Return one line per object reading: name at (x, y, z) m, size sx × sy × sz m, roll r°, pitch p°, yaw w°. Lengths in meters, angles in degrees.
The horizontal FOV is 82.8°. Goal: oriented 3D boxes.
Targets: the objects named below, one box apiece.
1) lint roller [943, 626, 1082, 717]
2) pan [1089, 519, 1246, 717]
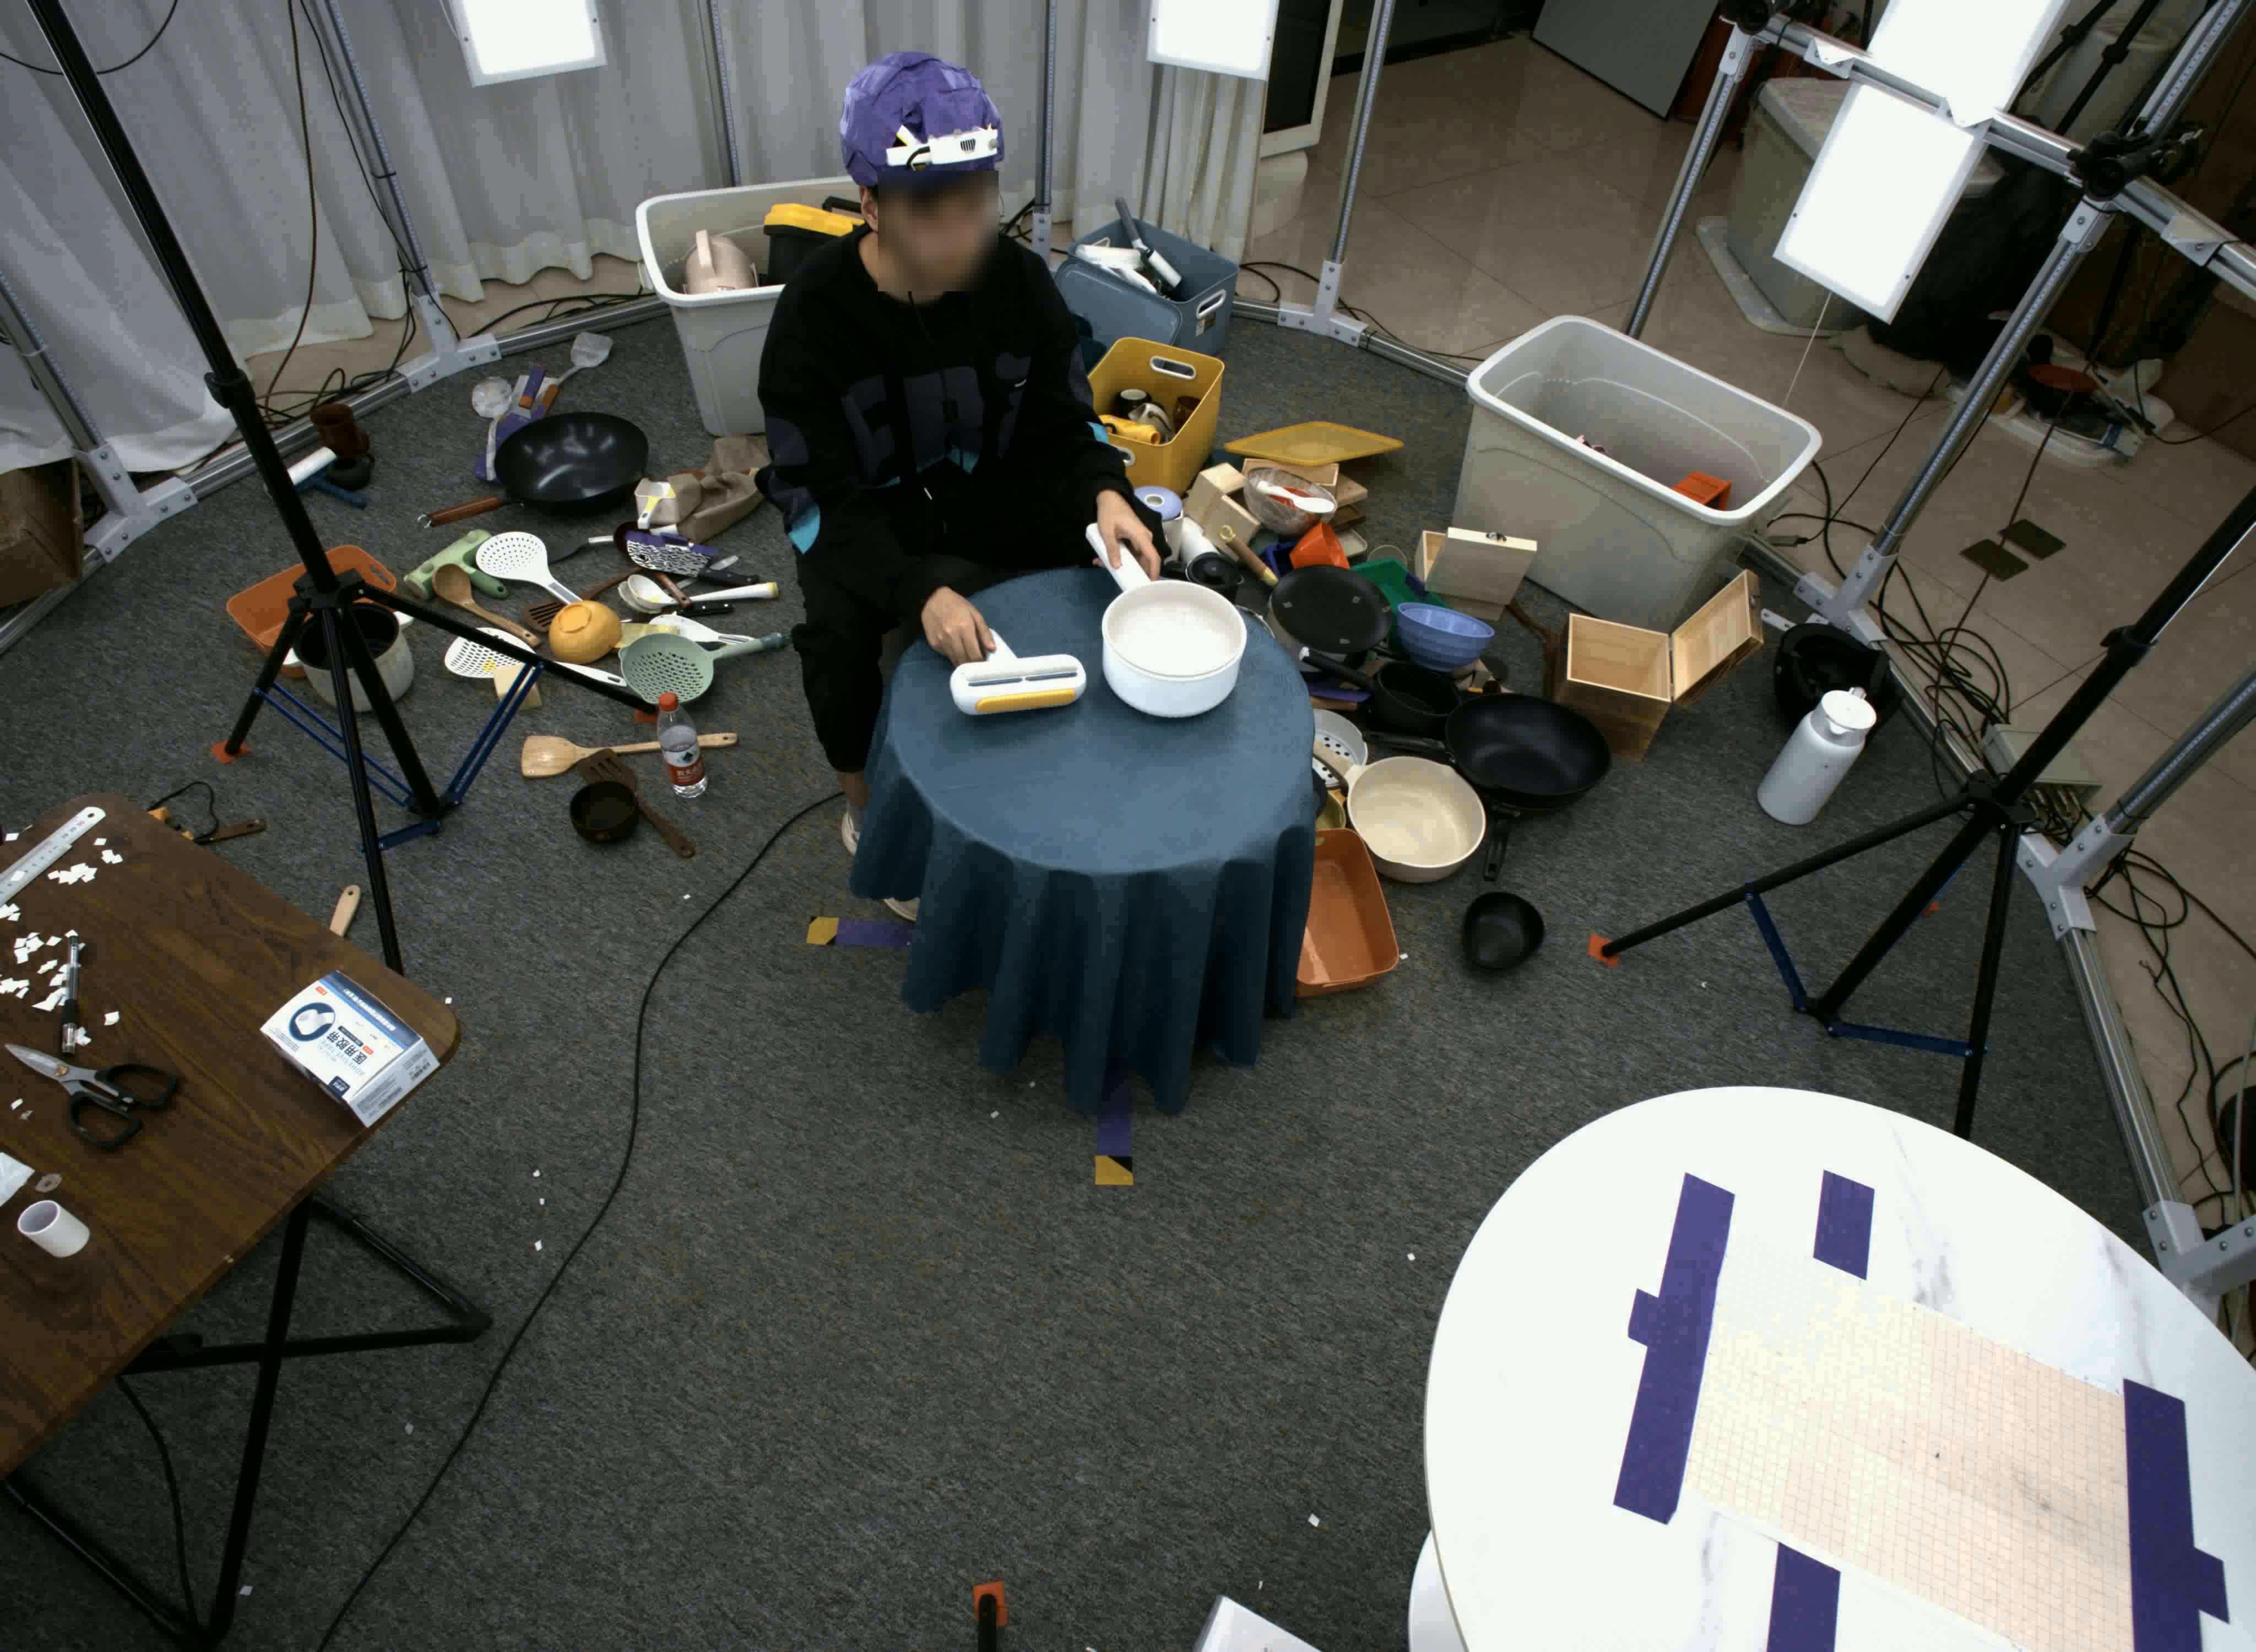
lint roller at (-0.177, -0.232, 1.814) m, size 0.192 × 0.072 × 0.197 m, roll -9°, pitch 49°, yaw -18°
pan at (0.029, -0.302, 1.865) m, size 0.201 × 0.099 × 0.363 m, roll -18°, pitch 52°, yaw -18°
